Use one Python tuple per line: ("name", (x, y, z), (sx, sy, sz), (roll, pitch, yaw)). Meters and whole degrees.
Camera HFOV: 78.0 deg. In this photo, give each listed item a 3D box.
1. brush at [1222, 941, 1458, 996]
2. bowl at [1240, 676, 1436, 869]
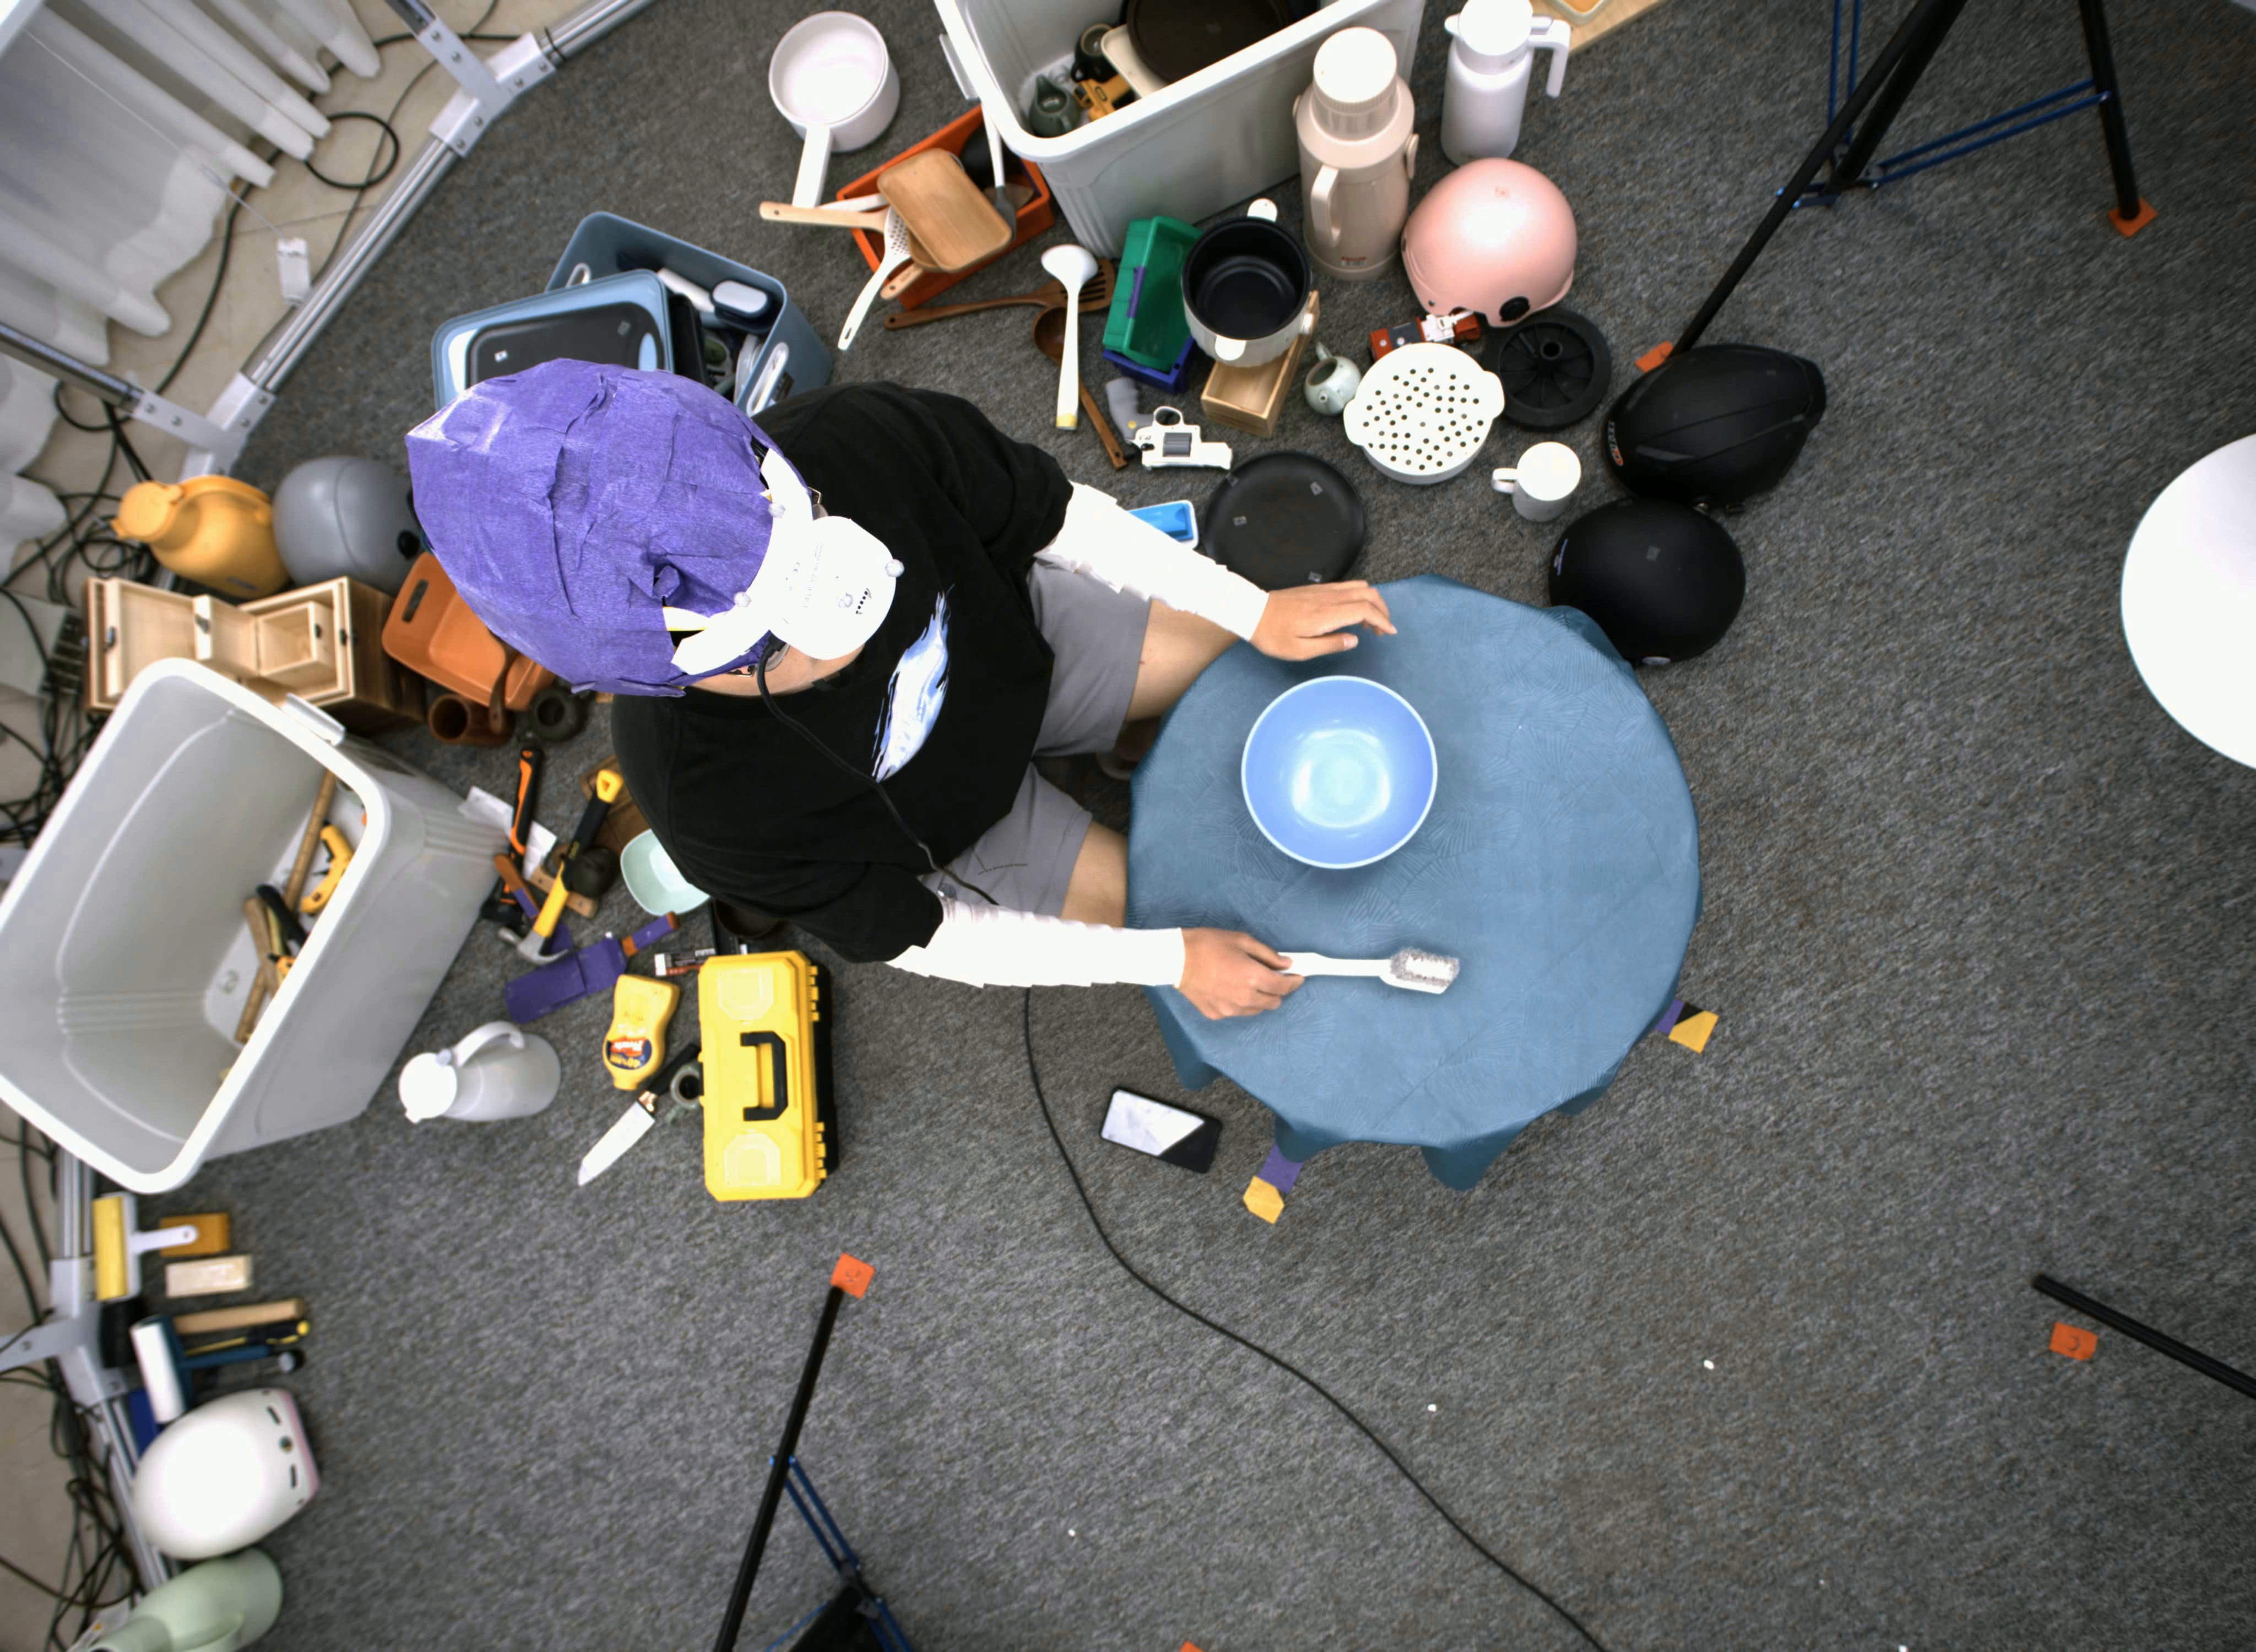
("brush", (0.218, 0.140, 1.435), (0.244, 0.051, 0.034), (7, 71, 10))
("bowl", (0.220, -0.051, 1.430), (0.197, 0.095, 0.196), (-1, 88, 13))
